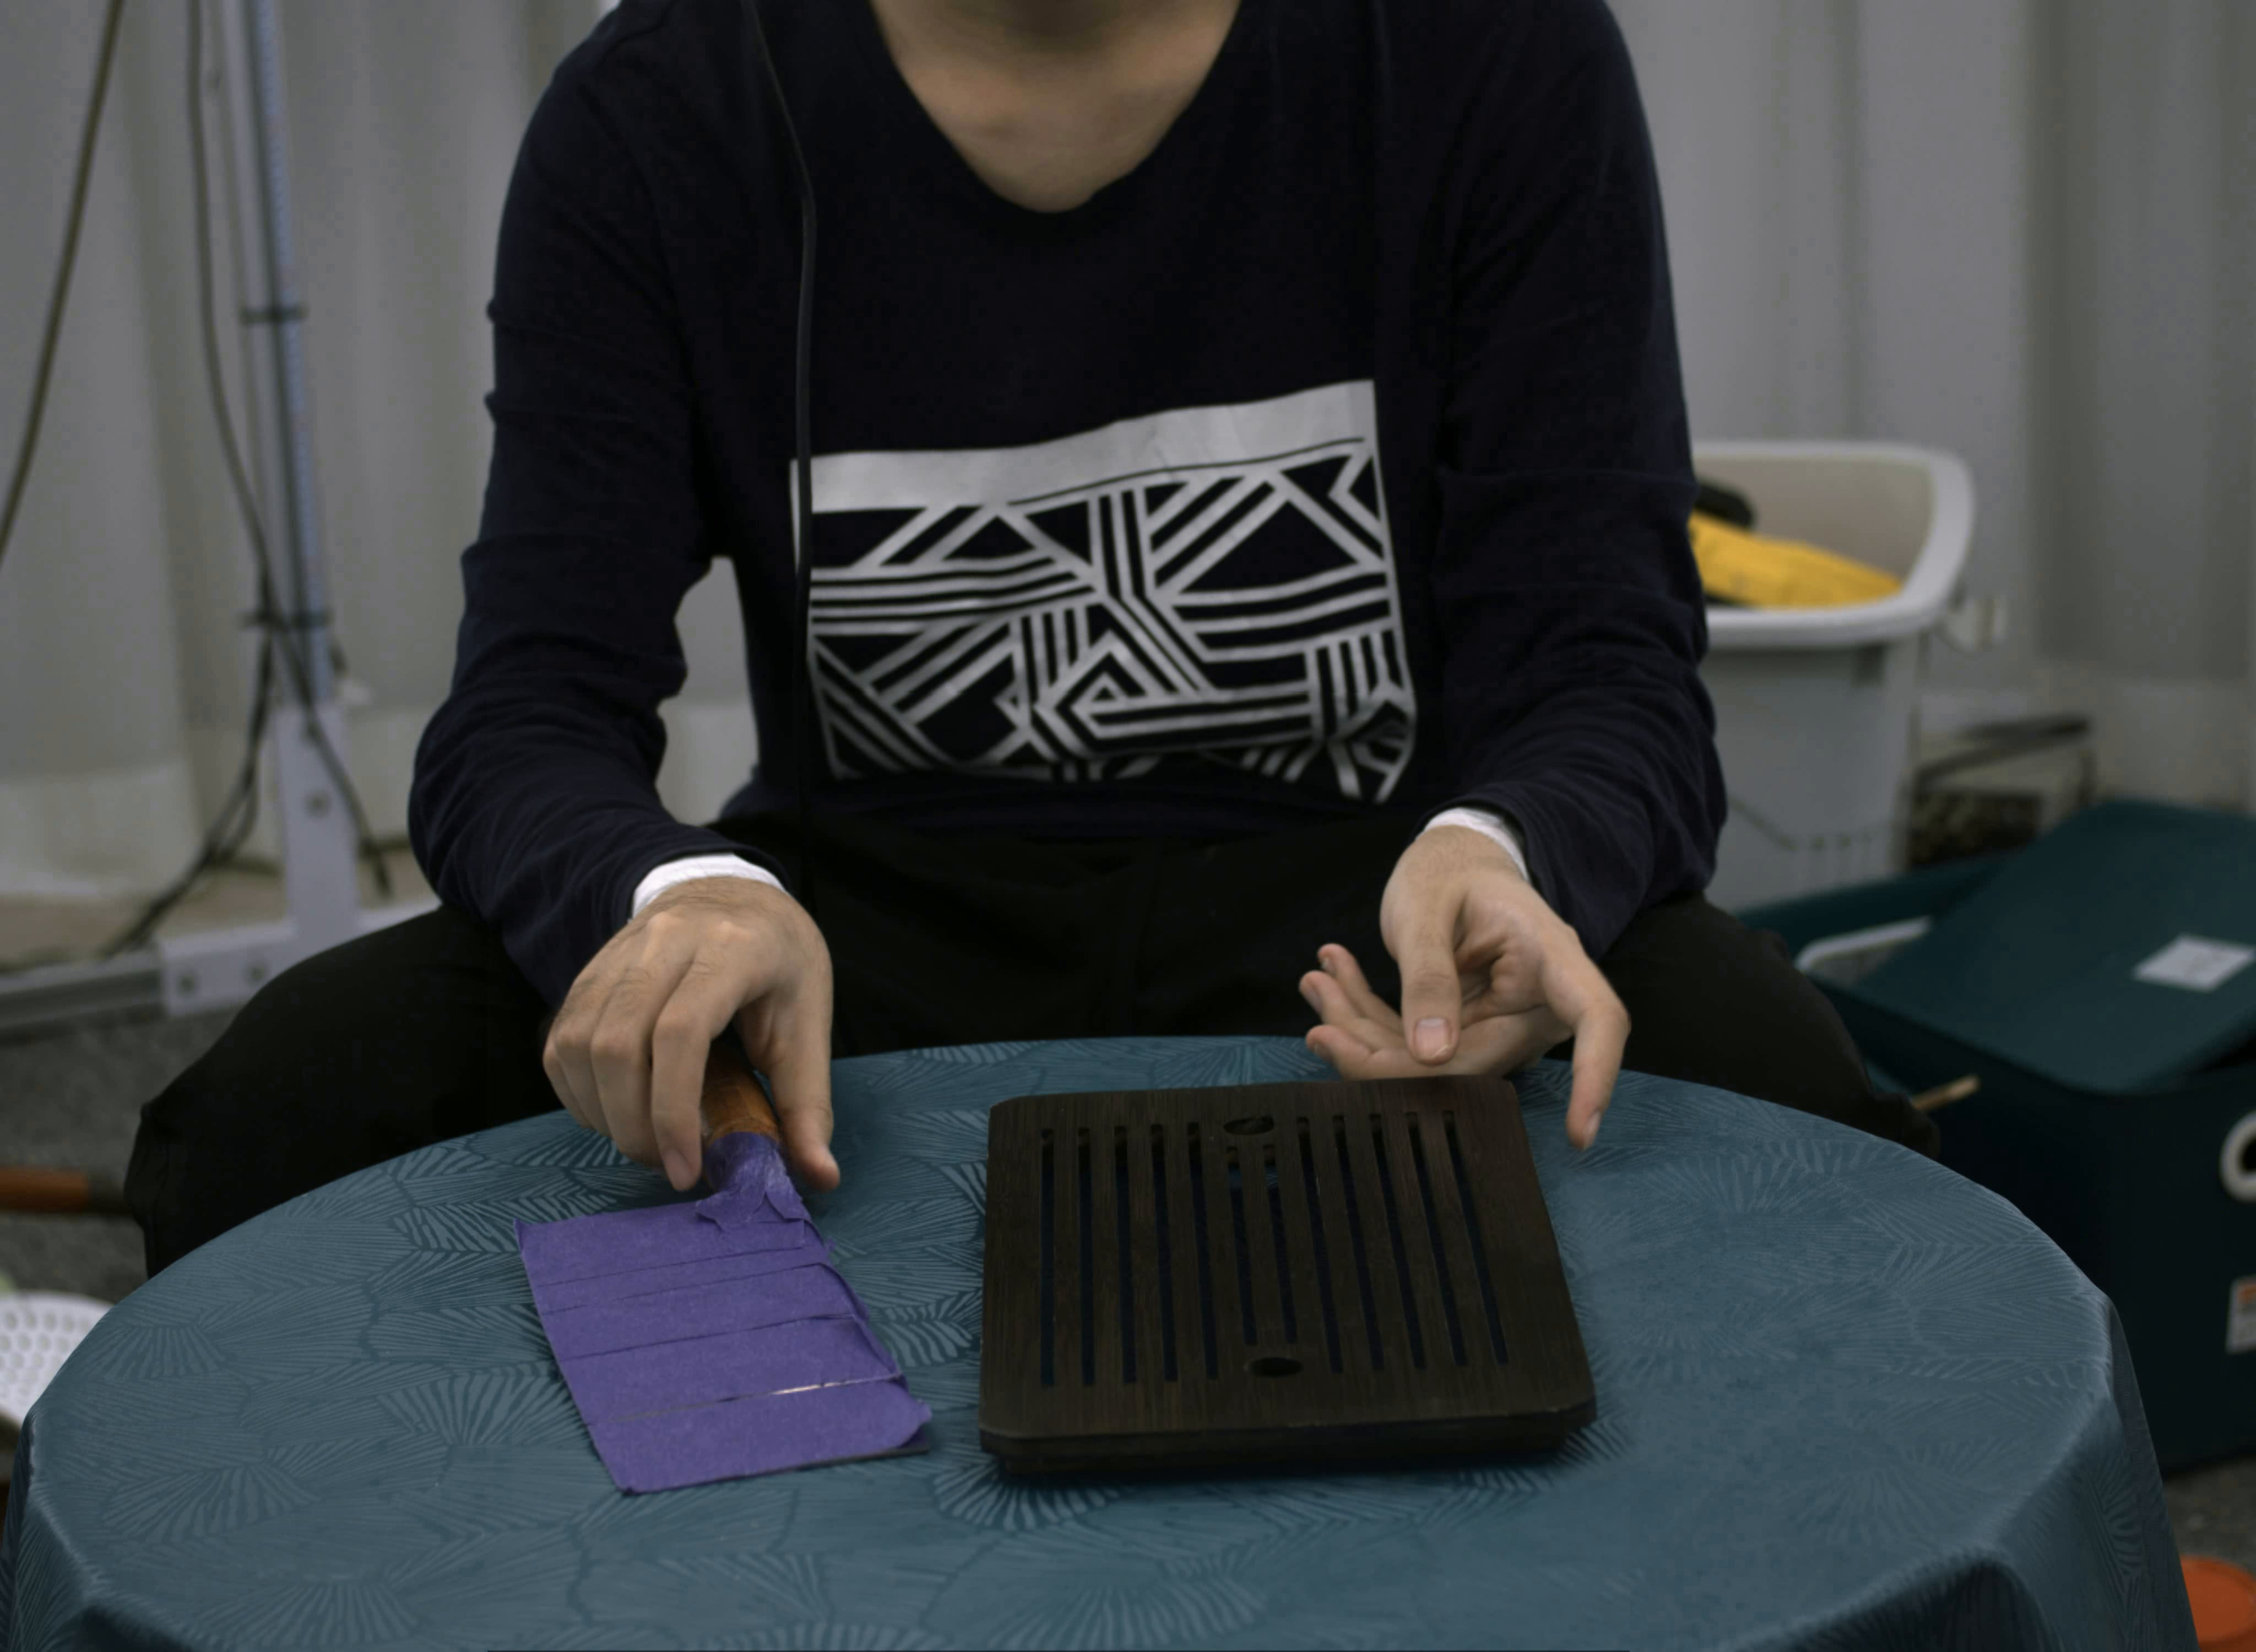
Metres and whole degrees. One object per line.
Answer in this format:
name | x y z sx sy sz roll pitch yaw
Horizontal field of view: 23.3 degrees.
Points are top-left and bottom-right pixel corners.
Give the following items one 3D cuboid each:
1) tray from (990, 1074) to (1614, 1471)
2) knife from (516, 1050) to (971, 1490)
tray | 0.045 0.129 1.618 0.169 0.018 0.308 -3 14 0
knife | -0.132 0.129 1.637 0.103 0.032 0.318 -6 16 -14
